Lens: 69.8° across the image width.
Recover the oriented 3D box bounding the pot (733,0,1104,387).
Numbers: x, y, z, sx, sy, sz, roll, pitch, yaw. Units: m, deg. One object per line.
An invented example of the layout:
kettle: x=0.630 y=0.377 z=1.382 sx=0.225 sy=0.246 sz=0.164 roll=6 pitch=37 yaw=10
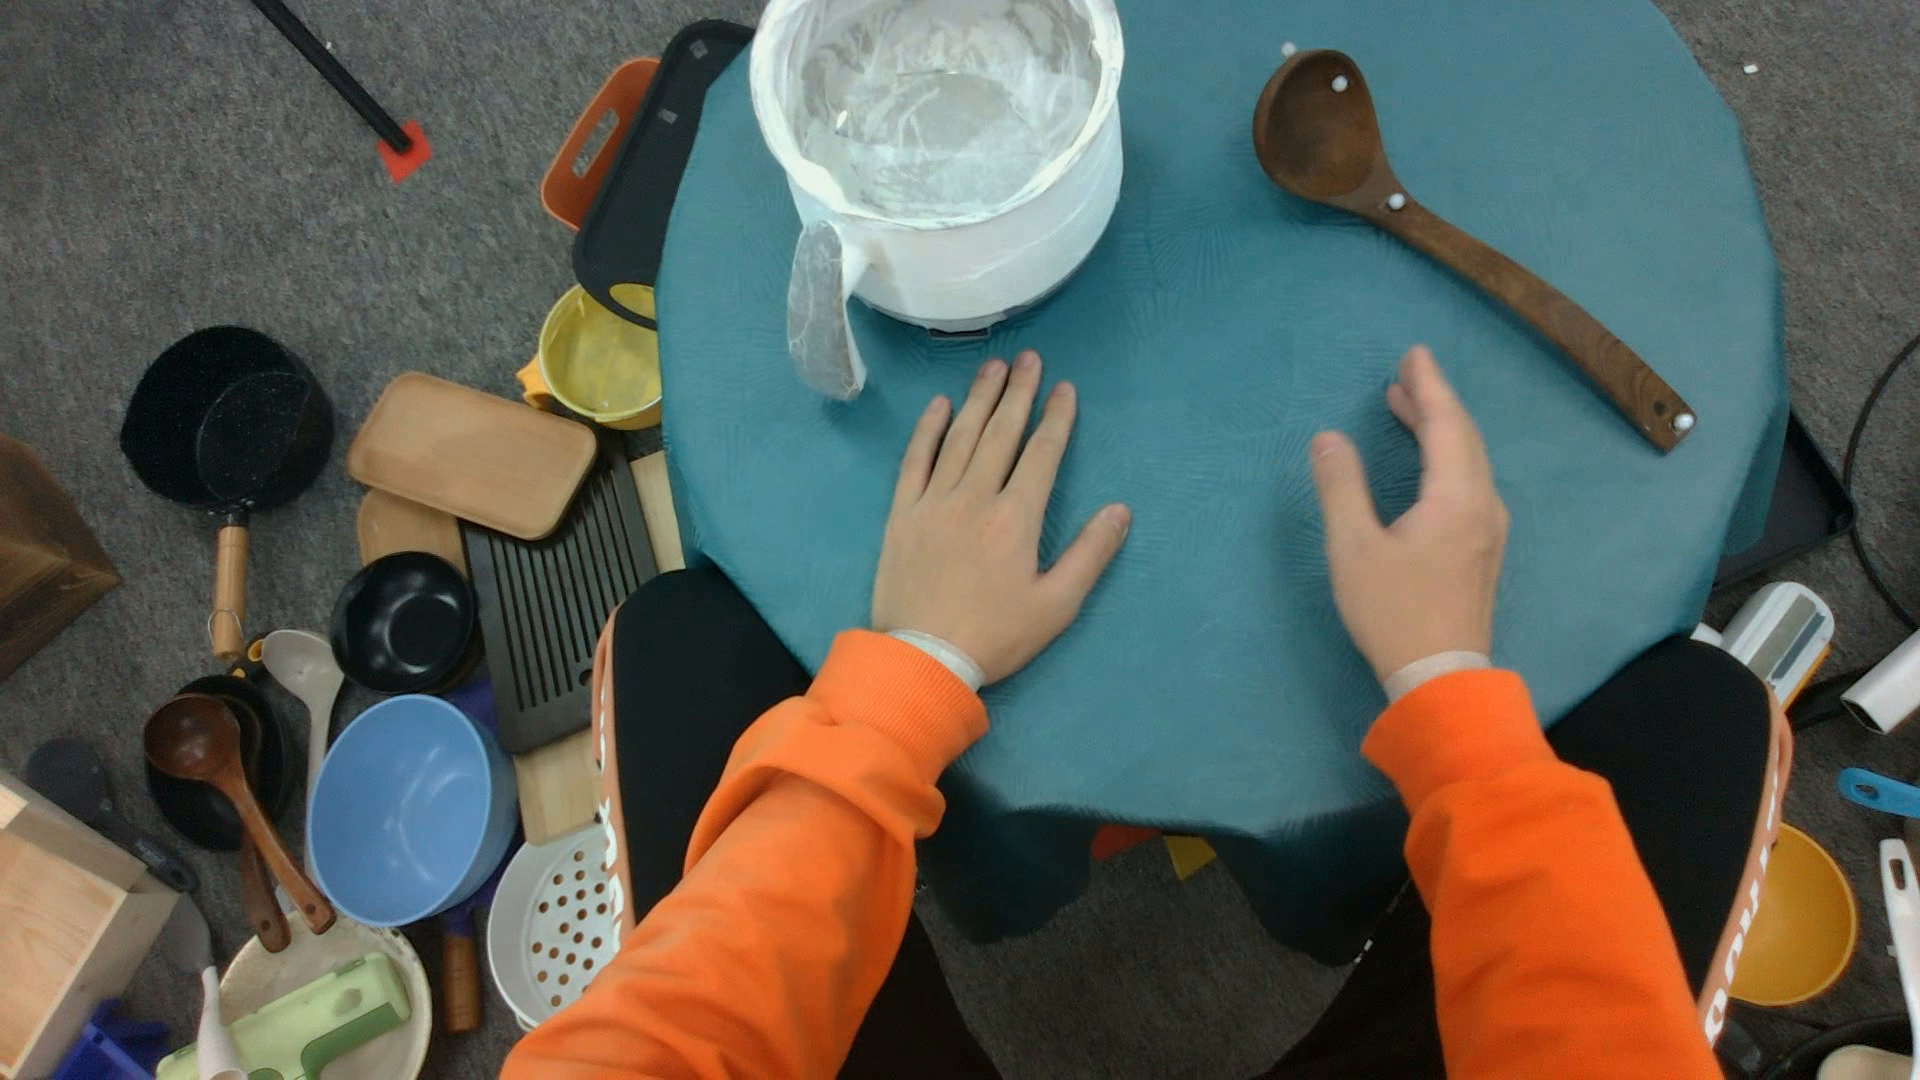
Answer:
pot: x=-0.027 y=-0.193 z=0.706 sx=0.178 sy=0.136 sz=0.234 roll=26 pitch=79 yaw=13

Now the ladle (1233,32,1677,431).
ladle: x=0.255 y=-0.158 z=0.702 sx=0.274 sy=0.071 sz=0.076 roll=43 pitch=88 yaw=15
